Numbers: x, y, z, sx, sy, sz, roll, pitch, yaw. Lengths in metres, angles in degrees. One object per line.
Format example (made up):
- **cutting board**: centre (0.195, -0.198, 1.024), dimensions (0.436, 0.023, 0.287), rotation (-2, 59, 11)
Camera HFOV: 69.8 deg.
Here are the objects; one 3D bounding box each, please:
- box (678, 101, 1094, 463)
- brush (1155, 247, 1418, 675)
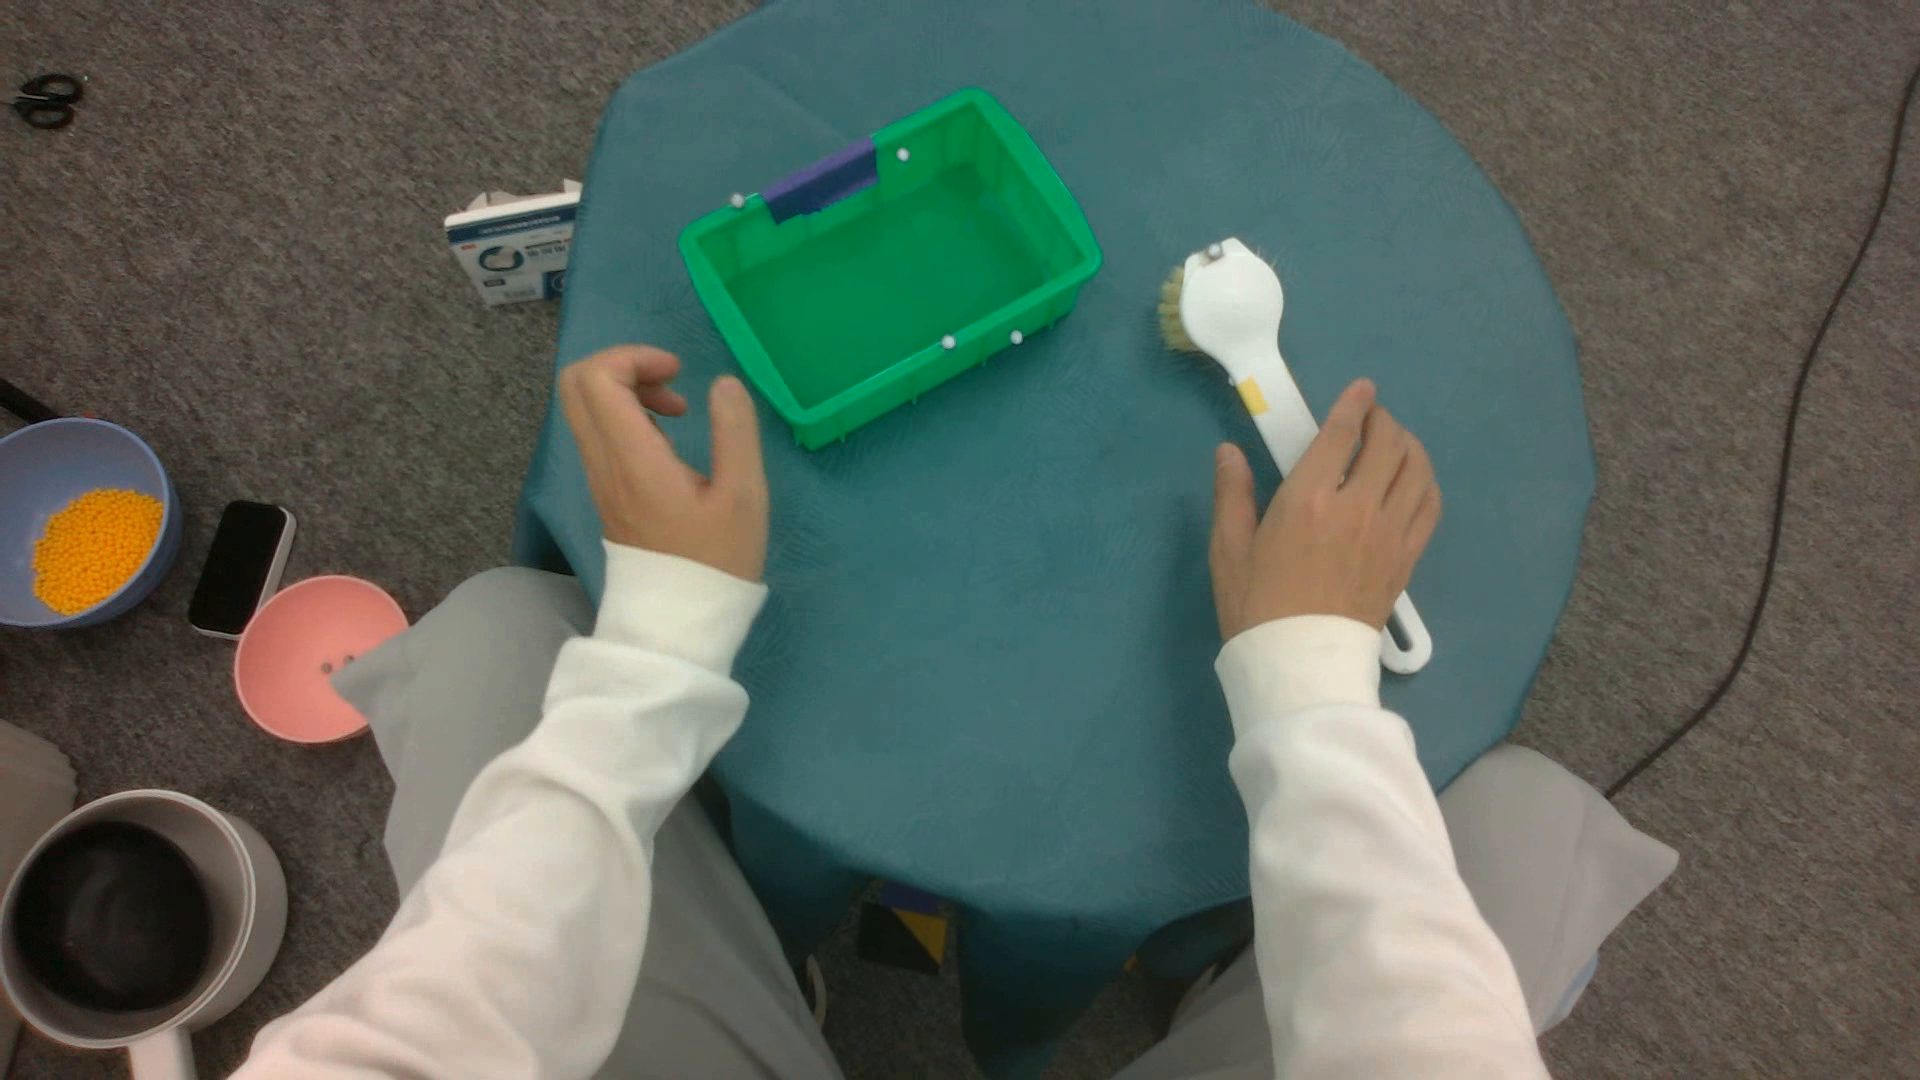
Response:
- **box**: centre (-0.041, -0.144, 0.795), dimensions (0.211, 0.065, 0.139), rotation (-33, 74, -10)
- **brush**: centre (0.191, -0.047, 0.794), dimensions (0.068, 0.056, 0.266), rotation (-27, 88, 13)
